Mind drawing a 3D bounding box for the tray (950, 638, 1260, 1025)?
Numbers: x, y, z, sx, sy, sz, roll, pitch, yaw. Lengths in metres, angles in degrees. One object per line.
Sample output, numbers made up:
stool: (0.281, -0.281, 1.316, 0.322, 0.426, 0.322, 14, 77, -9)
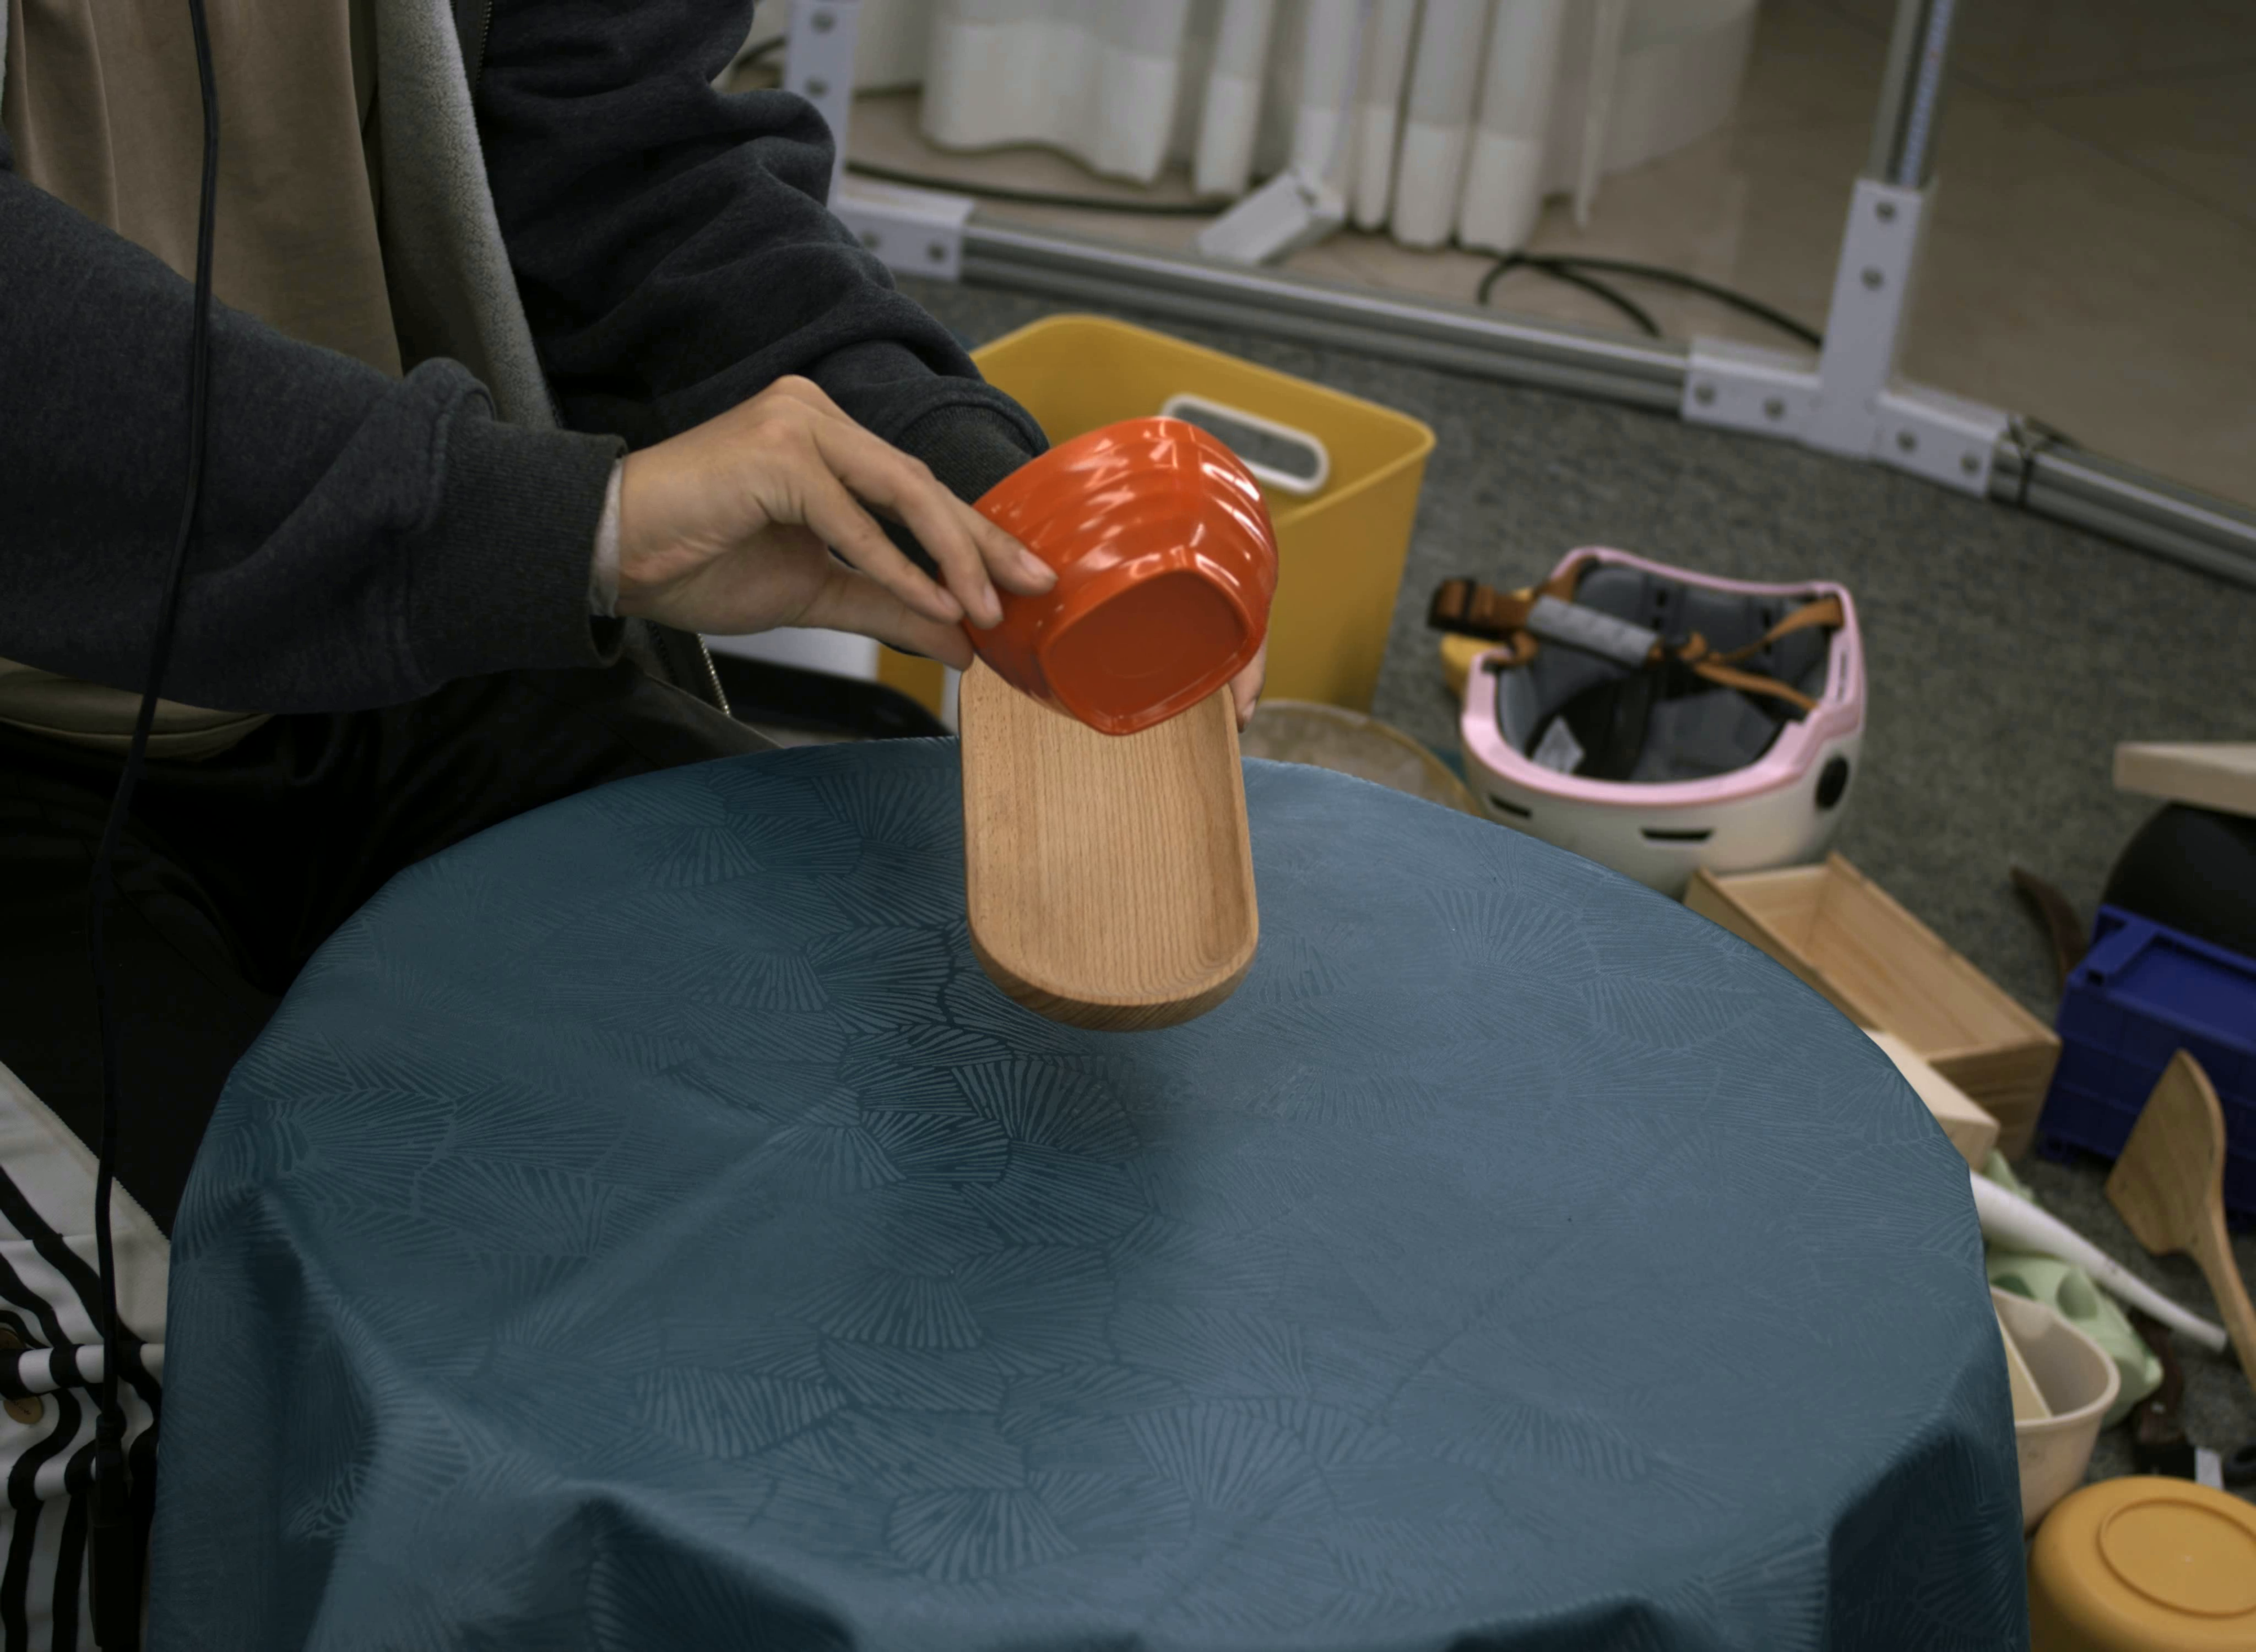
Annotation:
tray: (-0.010, -0.005, 1.873, 0.101, 0.020, 0.233, 2, 35, -6)

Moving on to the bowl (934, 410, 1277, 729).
bowl: (-0.001, -0.075, 1.736, 0.118, 0.118, 0.052, -4, 48, -21)
